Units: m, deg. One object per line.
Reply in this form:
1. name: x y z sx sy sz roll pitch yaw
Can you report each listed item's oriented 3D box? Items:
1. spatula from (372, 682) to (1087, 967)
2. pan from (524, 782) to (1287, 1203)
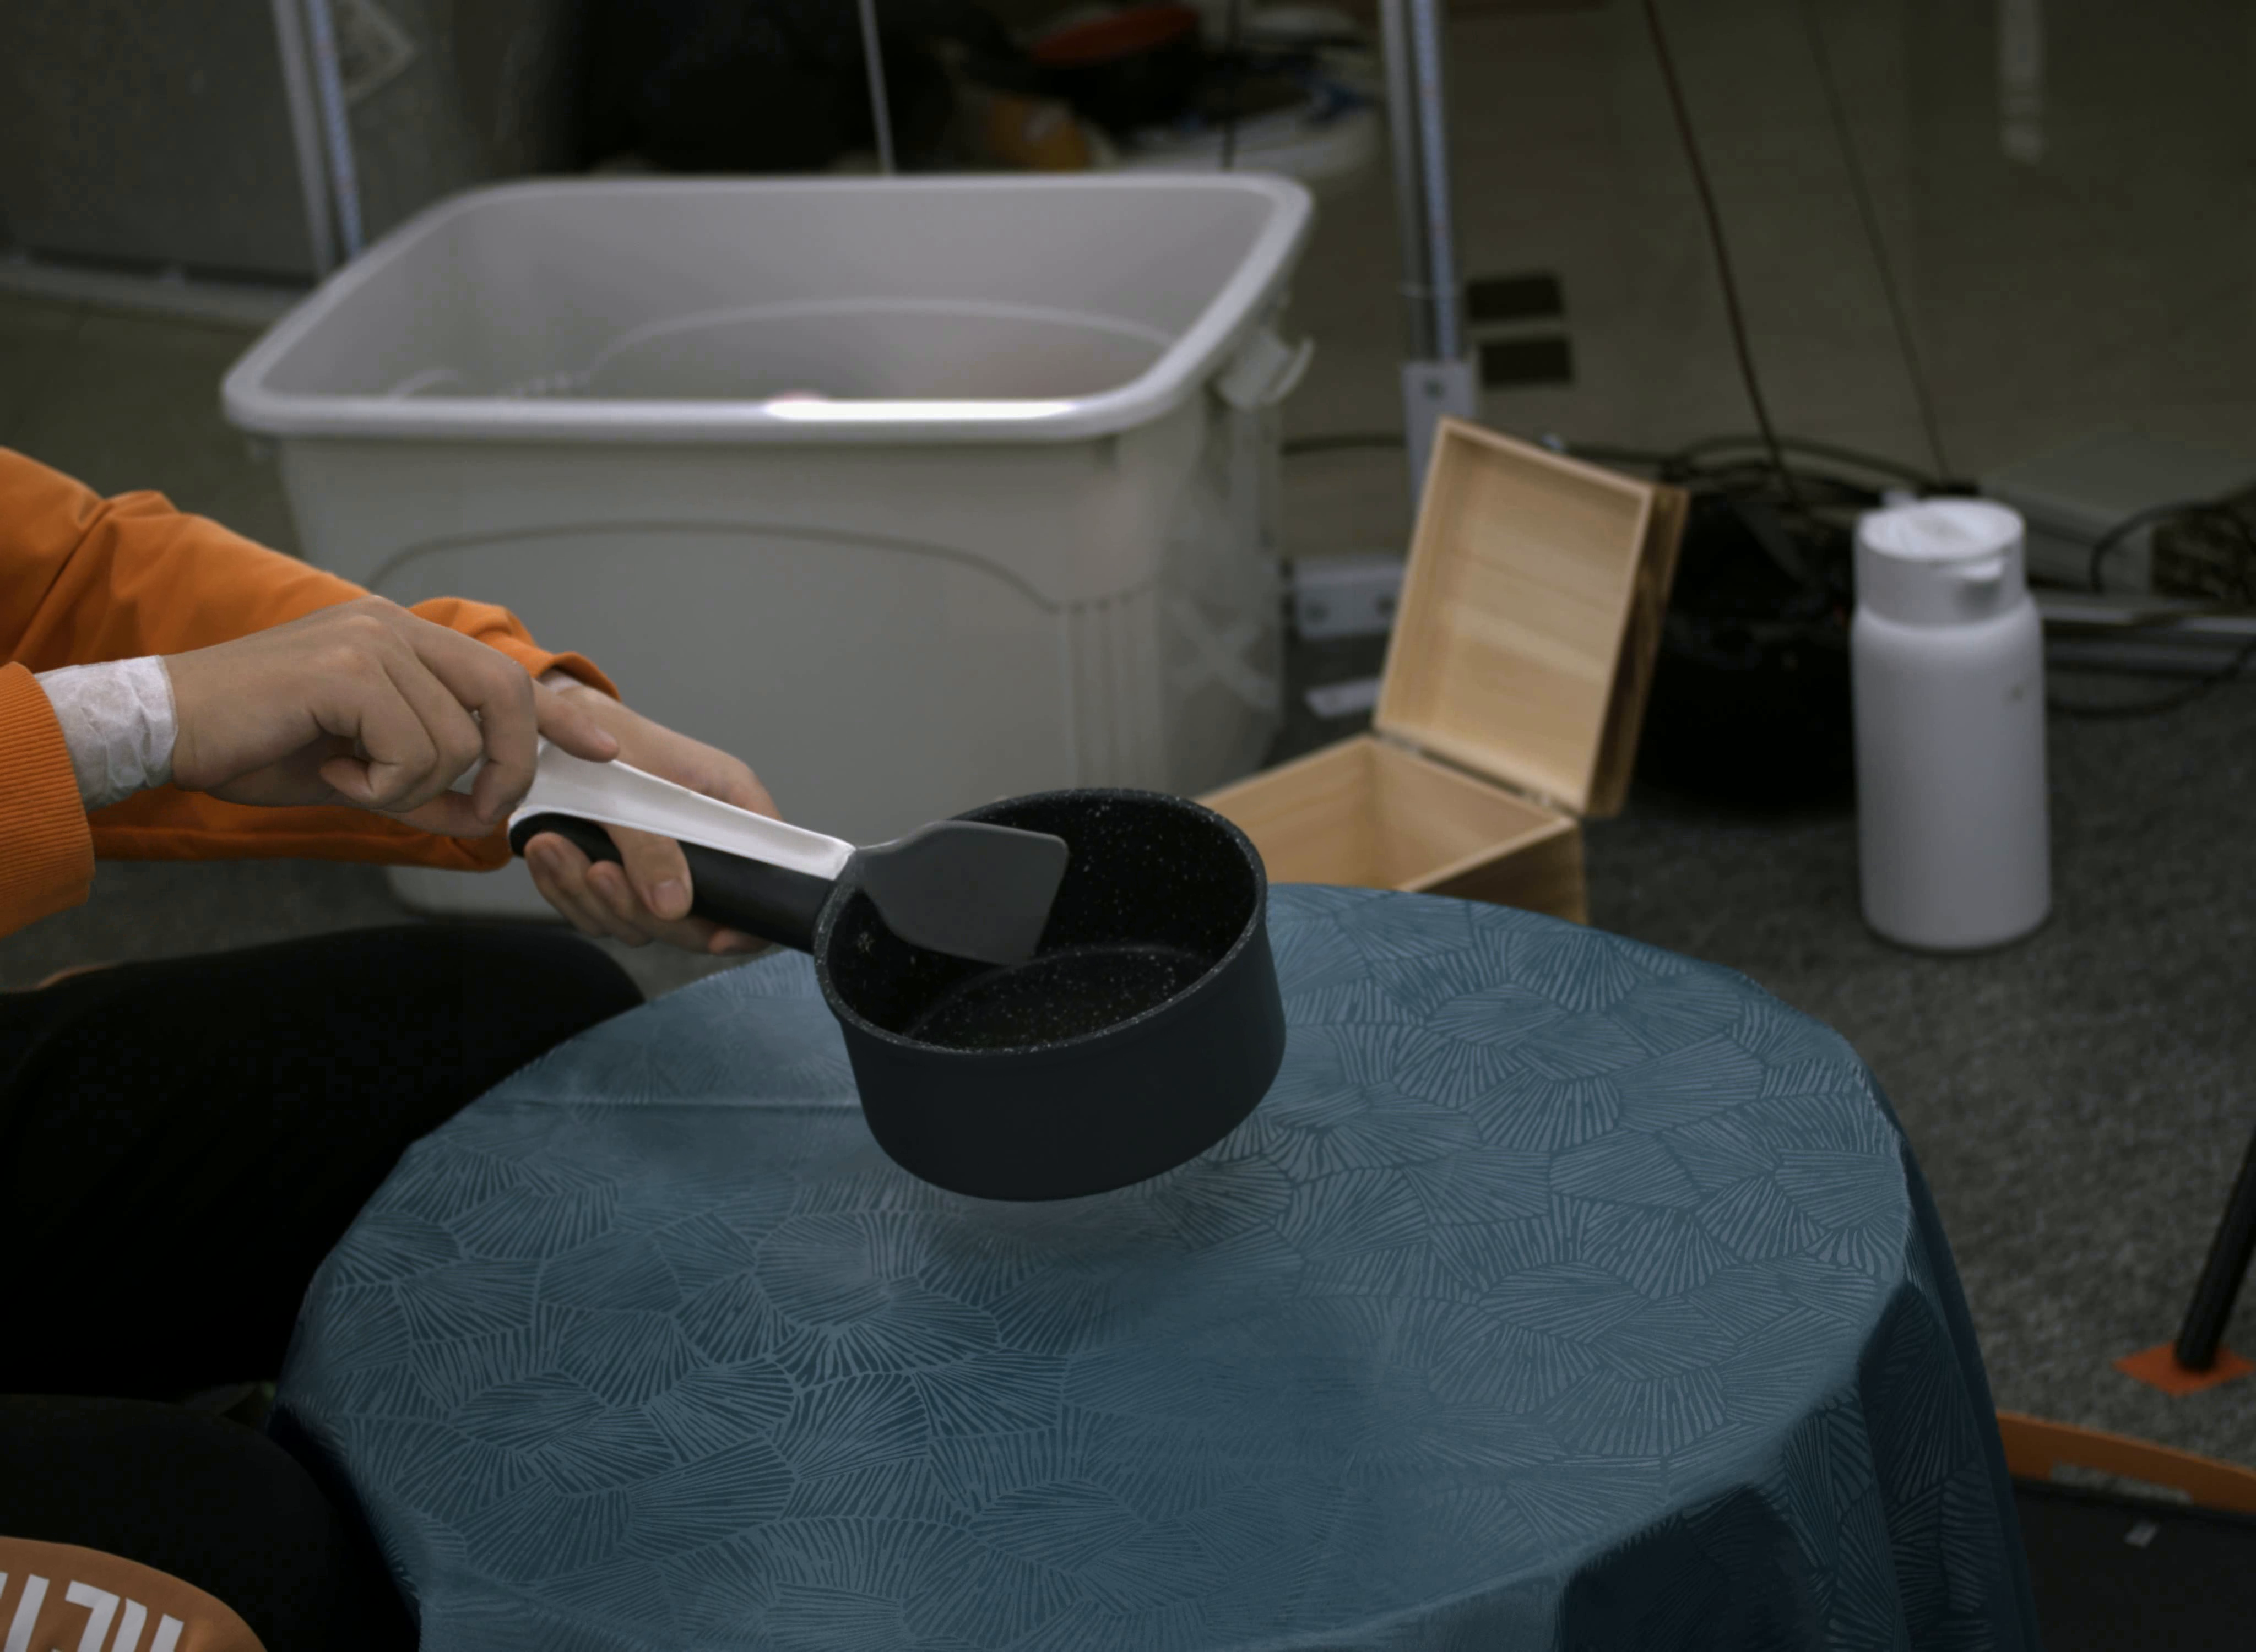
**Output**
1. spatula: -0.136 -0.001 2.026 0.289 0.059 0.032 16 5 -31
2. pan: -0.092 0.047 2.160 0.327 0.088 0.170 13 40 32
